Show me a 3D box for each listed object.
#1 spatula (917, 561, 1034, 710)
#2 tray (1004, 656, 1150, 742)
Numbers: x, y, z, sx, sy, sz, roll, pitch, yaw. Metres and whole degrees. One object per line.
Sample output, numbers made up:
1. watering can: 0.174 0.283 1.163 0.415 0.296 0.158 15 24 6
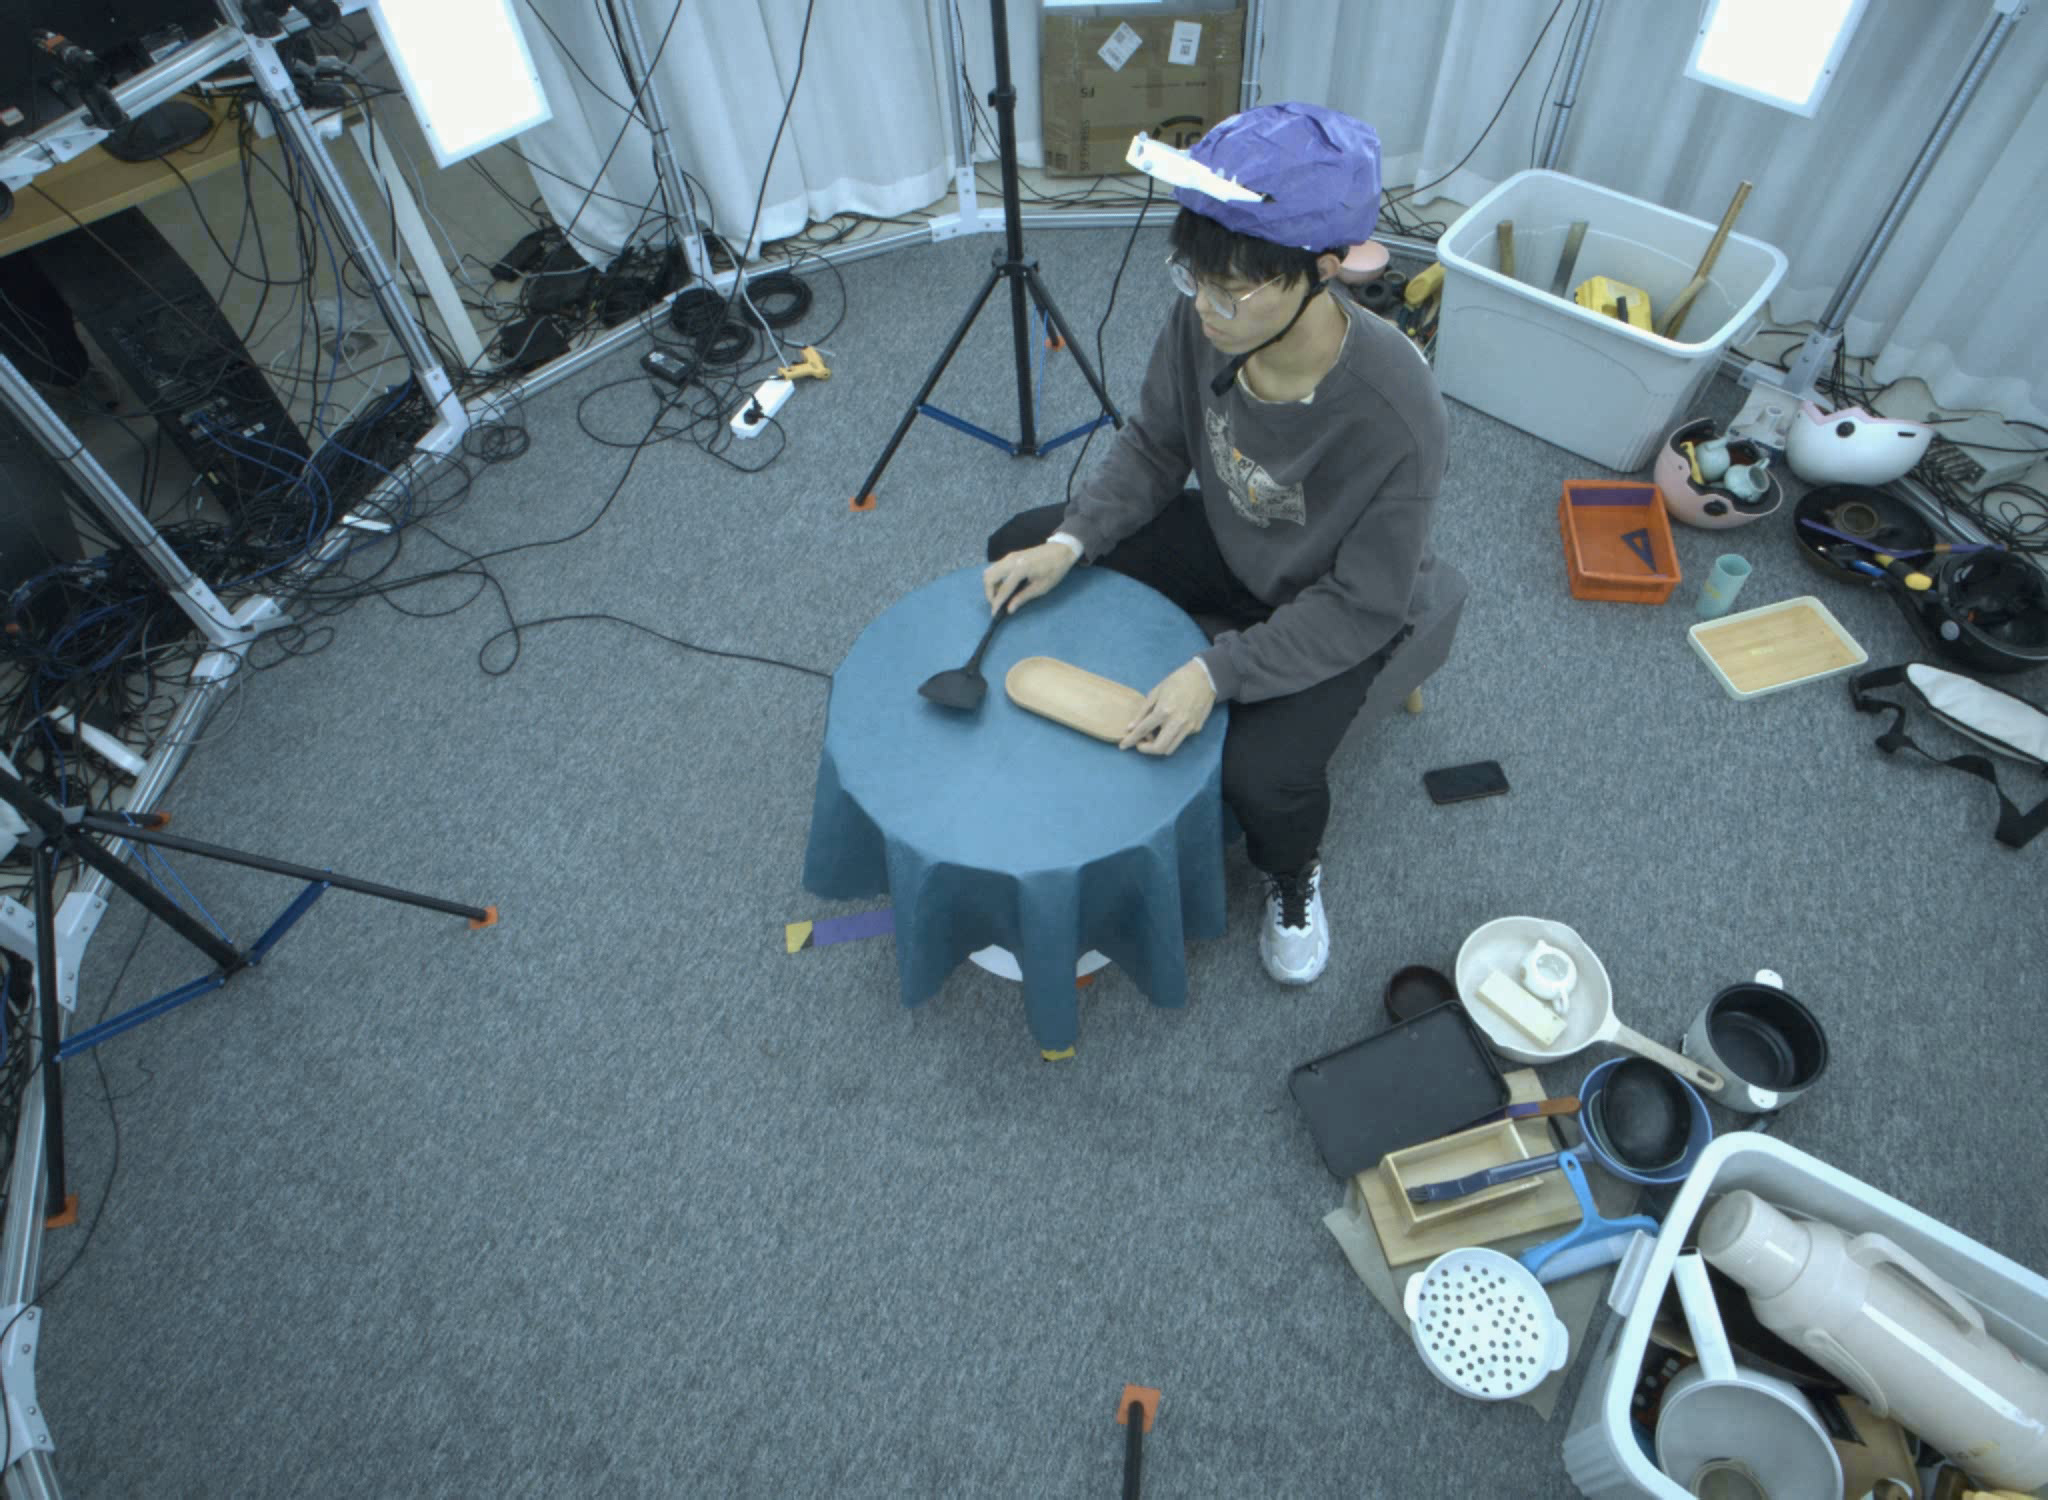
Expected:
1. spatula: -0.053 -0.185 1.892 0.098 0.041 0.326 17 60 16
2. tray: 0.078 -0.076 1.825 0.228 0.020 0.102 22 54 19
